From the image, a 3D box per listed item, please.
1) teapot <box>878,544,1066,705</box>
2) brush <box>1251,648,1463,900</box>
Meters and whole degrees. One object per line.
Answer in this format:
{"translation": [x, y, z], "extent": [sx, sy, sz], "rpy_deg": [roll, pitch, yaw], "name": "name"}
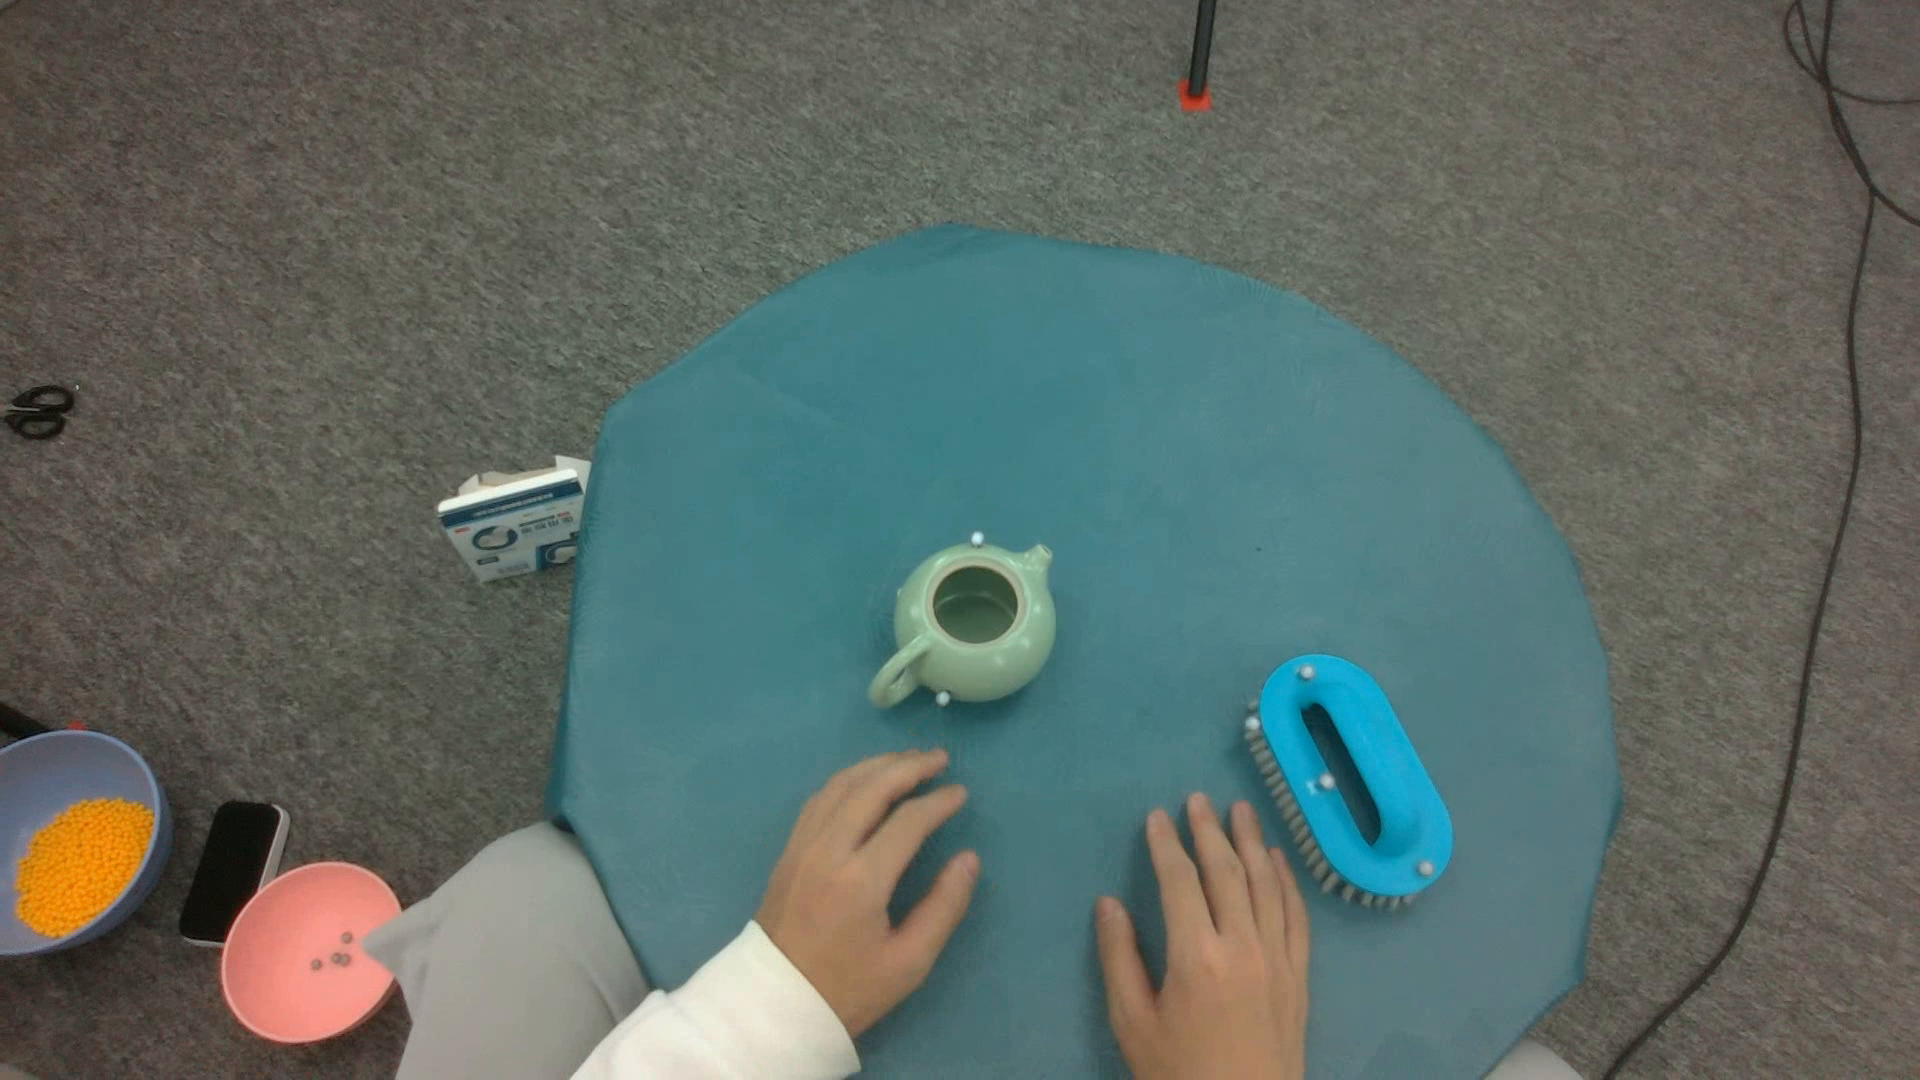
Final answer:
{"translation": [0.007, 0.053, 0.781], "extent": [0.129, 0.061, 0.091], "rpy_deg": [-34, 71, -15], "name": "teapot"}
{"translation": [0.220, 0.119, 0.745], "extent": [0.084, 0.063, 0.142], "rpy_deg": [-15, 64, -14], "name": "brush"}
